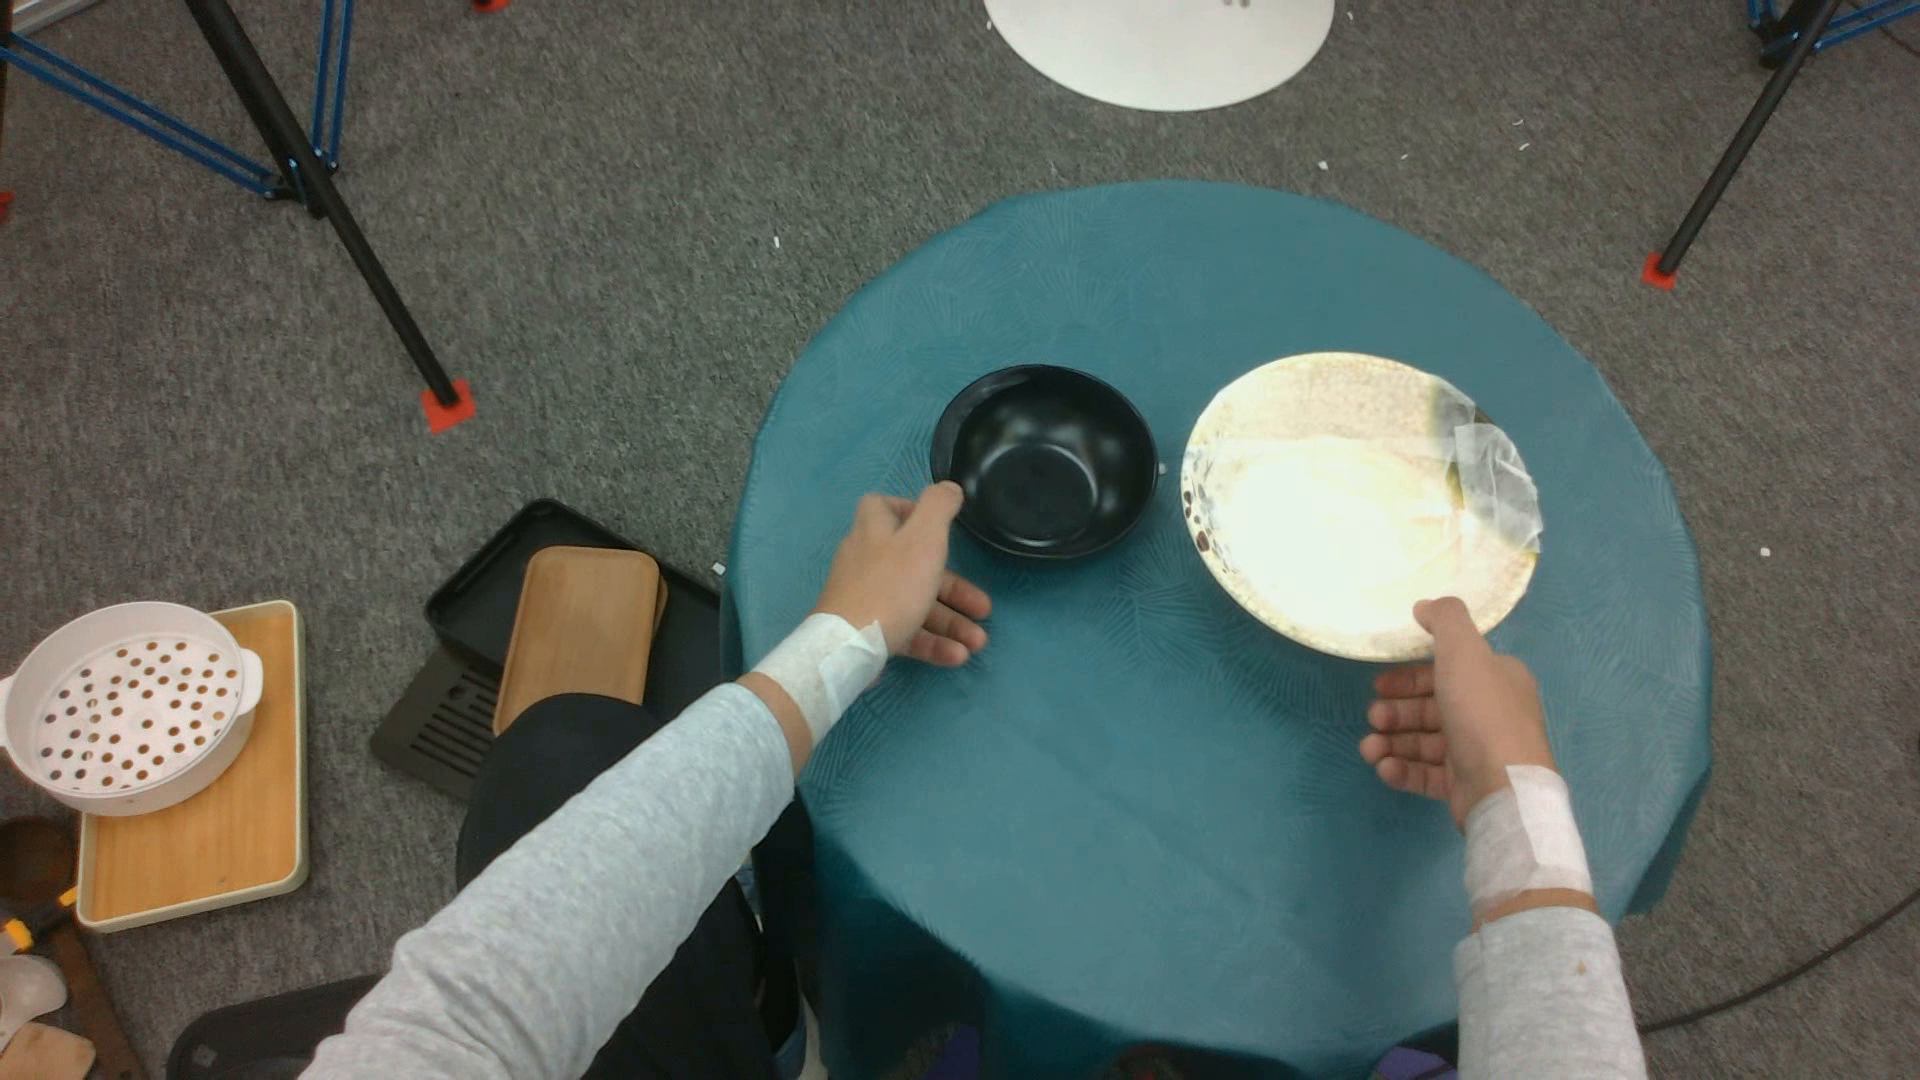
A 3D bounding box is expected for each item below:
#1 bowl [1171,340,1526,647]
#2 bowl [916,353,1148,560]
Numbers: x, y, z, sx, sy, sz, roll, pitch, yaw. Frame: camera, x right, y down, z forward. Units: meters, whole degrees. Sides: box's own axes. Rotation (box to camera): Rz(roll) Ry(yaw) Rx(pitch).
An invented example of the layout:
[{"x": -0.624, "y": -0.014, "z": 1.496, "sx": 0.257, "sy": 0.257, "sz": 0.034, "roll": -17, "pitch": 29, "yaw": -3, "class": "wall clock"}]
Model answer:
[{"x": 0.222, "y": -0.016, "z": 0.822, "sx": 0.204, "sy": 0.077, "sz": 0.205, "roll": 1, "pitch": 62, "yaw": -1, "class": "bowl"}, {"x": 0.043, "y": -0.044, "z": 0.845, "sx": 0.140, "sy": 0.049, "sz": 0.140, "roll": 0, "pitch": 64, "yaw": 0, "class": "bowl"}]
